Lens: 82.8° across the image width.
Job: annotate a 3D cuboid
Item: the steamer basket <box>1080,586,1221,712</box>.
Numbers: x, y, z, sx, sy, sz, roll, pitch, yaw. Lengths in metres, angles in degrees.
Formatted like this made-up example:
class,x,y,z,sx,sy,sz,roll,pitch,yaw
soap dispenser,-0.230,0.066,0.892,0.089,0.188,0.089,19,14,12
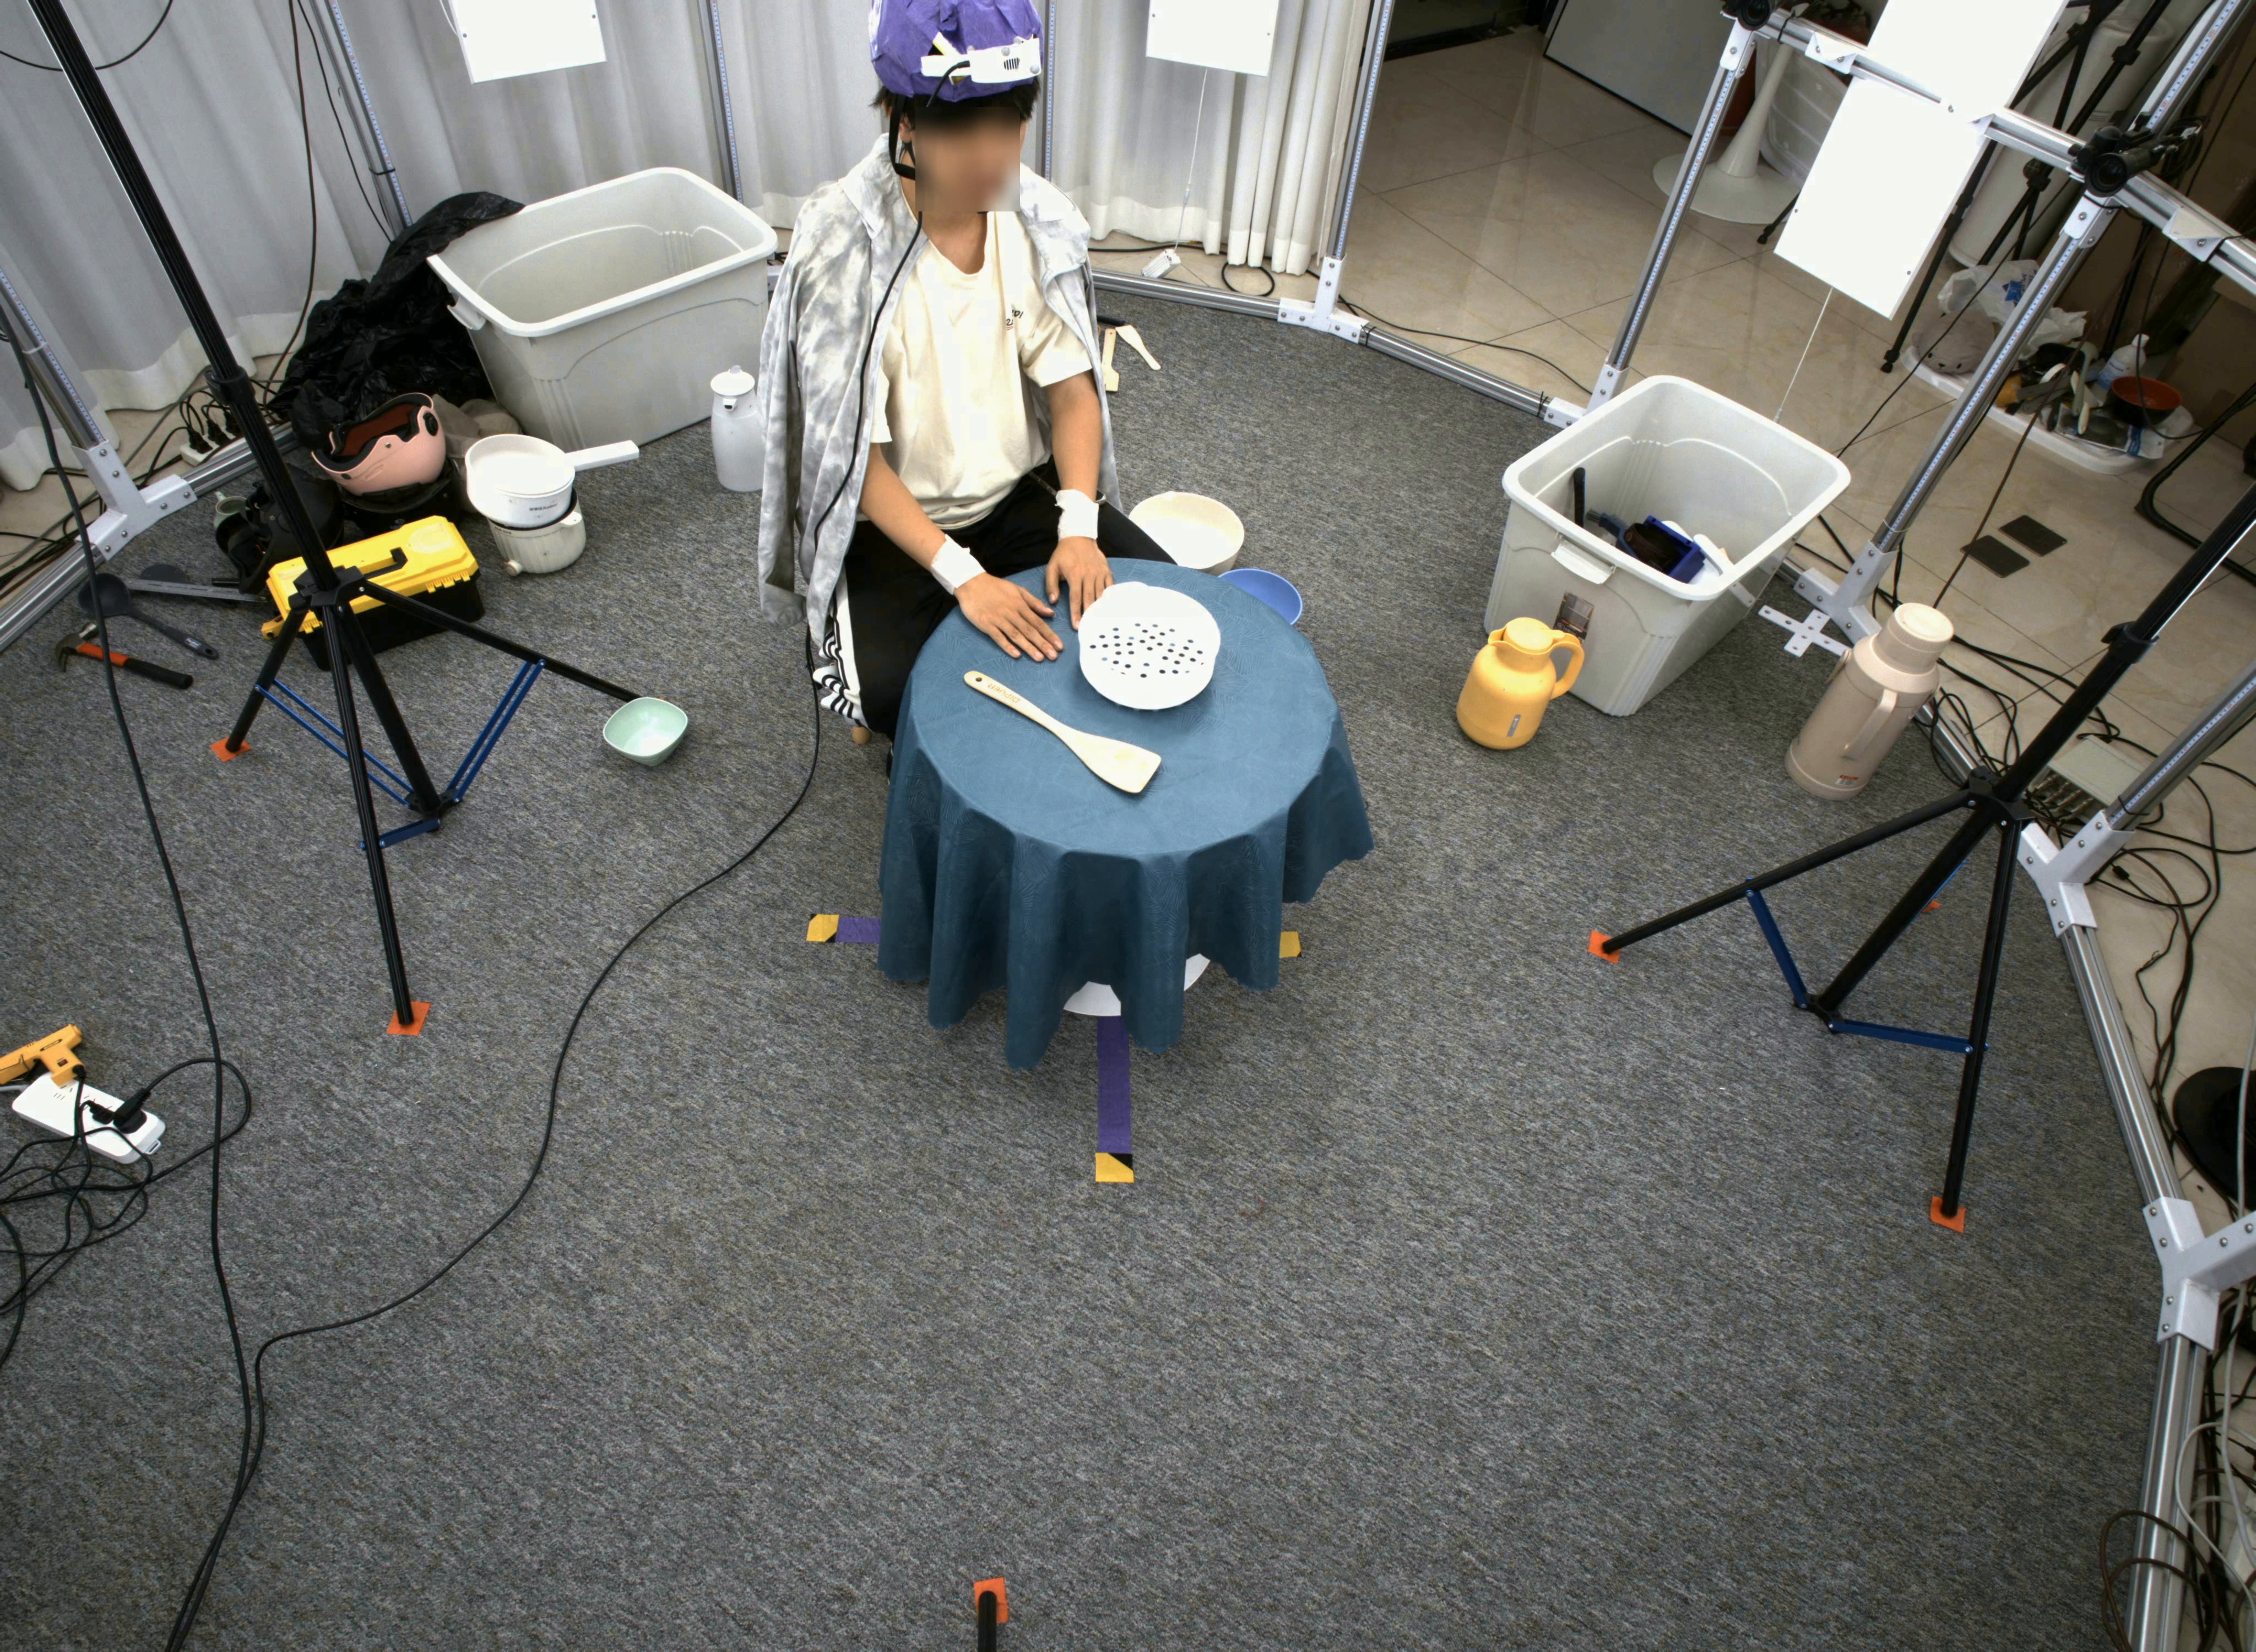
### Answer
class,x,y,z,sx,sy,sz,roll,pitch,yaw
steamer basket,0.030,-0.250,1.838,0.202,0.067,0.236,-12,50,-16

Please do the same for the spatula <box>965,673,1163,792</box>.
class,x,y,z,sx,sy,sz,roll,pitch,yaw
spatula,-0.095,-0.139,1.763,0.331,0.016,0.081,30,53,22
